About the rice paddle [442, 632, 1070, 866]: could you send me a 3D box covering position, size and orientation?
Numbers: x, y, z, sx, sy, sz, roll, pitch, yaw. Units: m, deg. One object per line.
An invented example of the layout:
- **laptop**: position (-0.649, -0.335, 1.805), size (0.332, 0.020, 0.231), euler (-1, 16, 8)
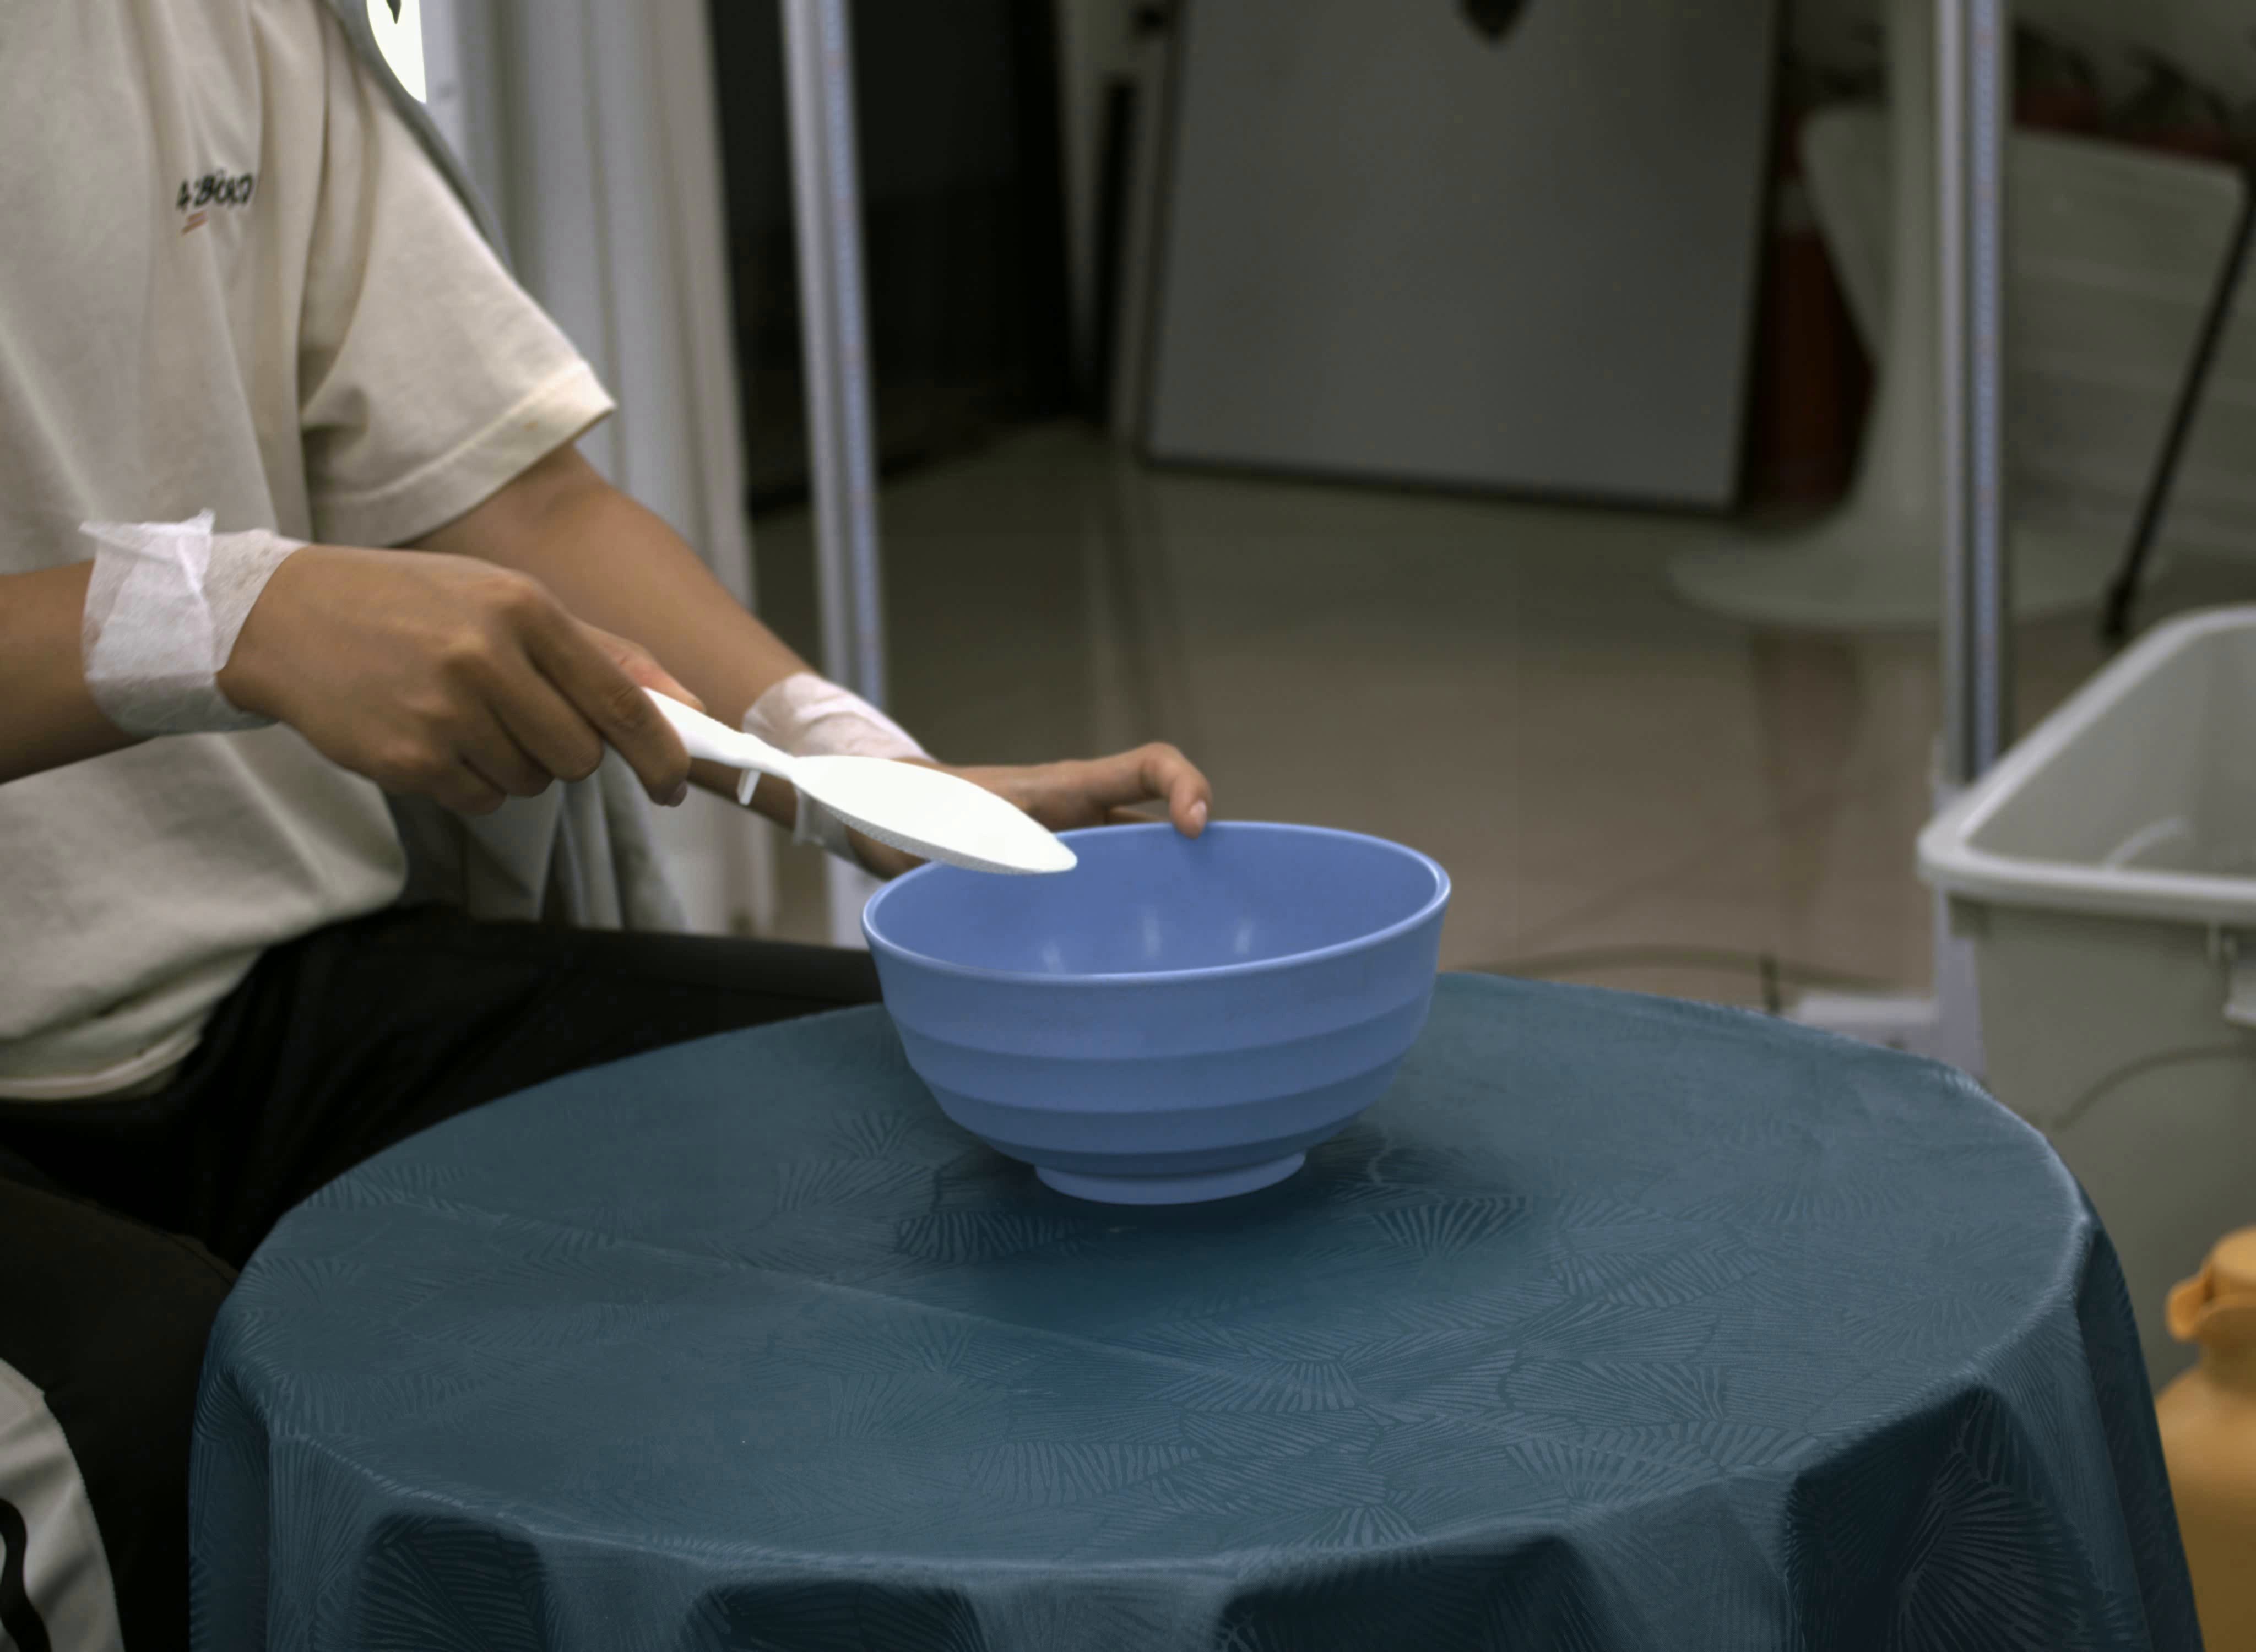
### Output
- **rice paddle**: position (-0.112, -0.021, 1.684), size (0.201, 0.030, 0.069), euler (14, 21, -14)

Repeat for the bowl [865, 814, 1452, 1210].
- **bowl**: position (0.012, 0.067, 1.788), size (0.194, 0.096, 0.197), euler (-3, 15, 0)
